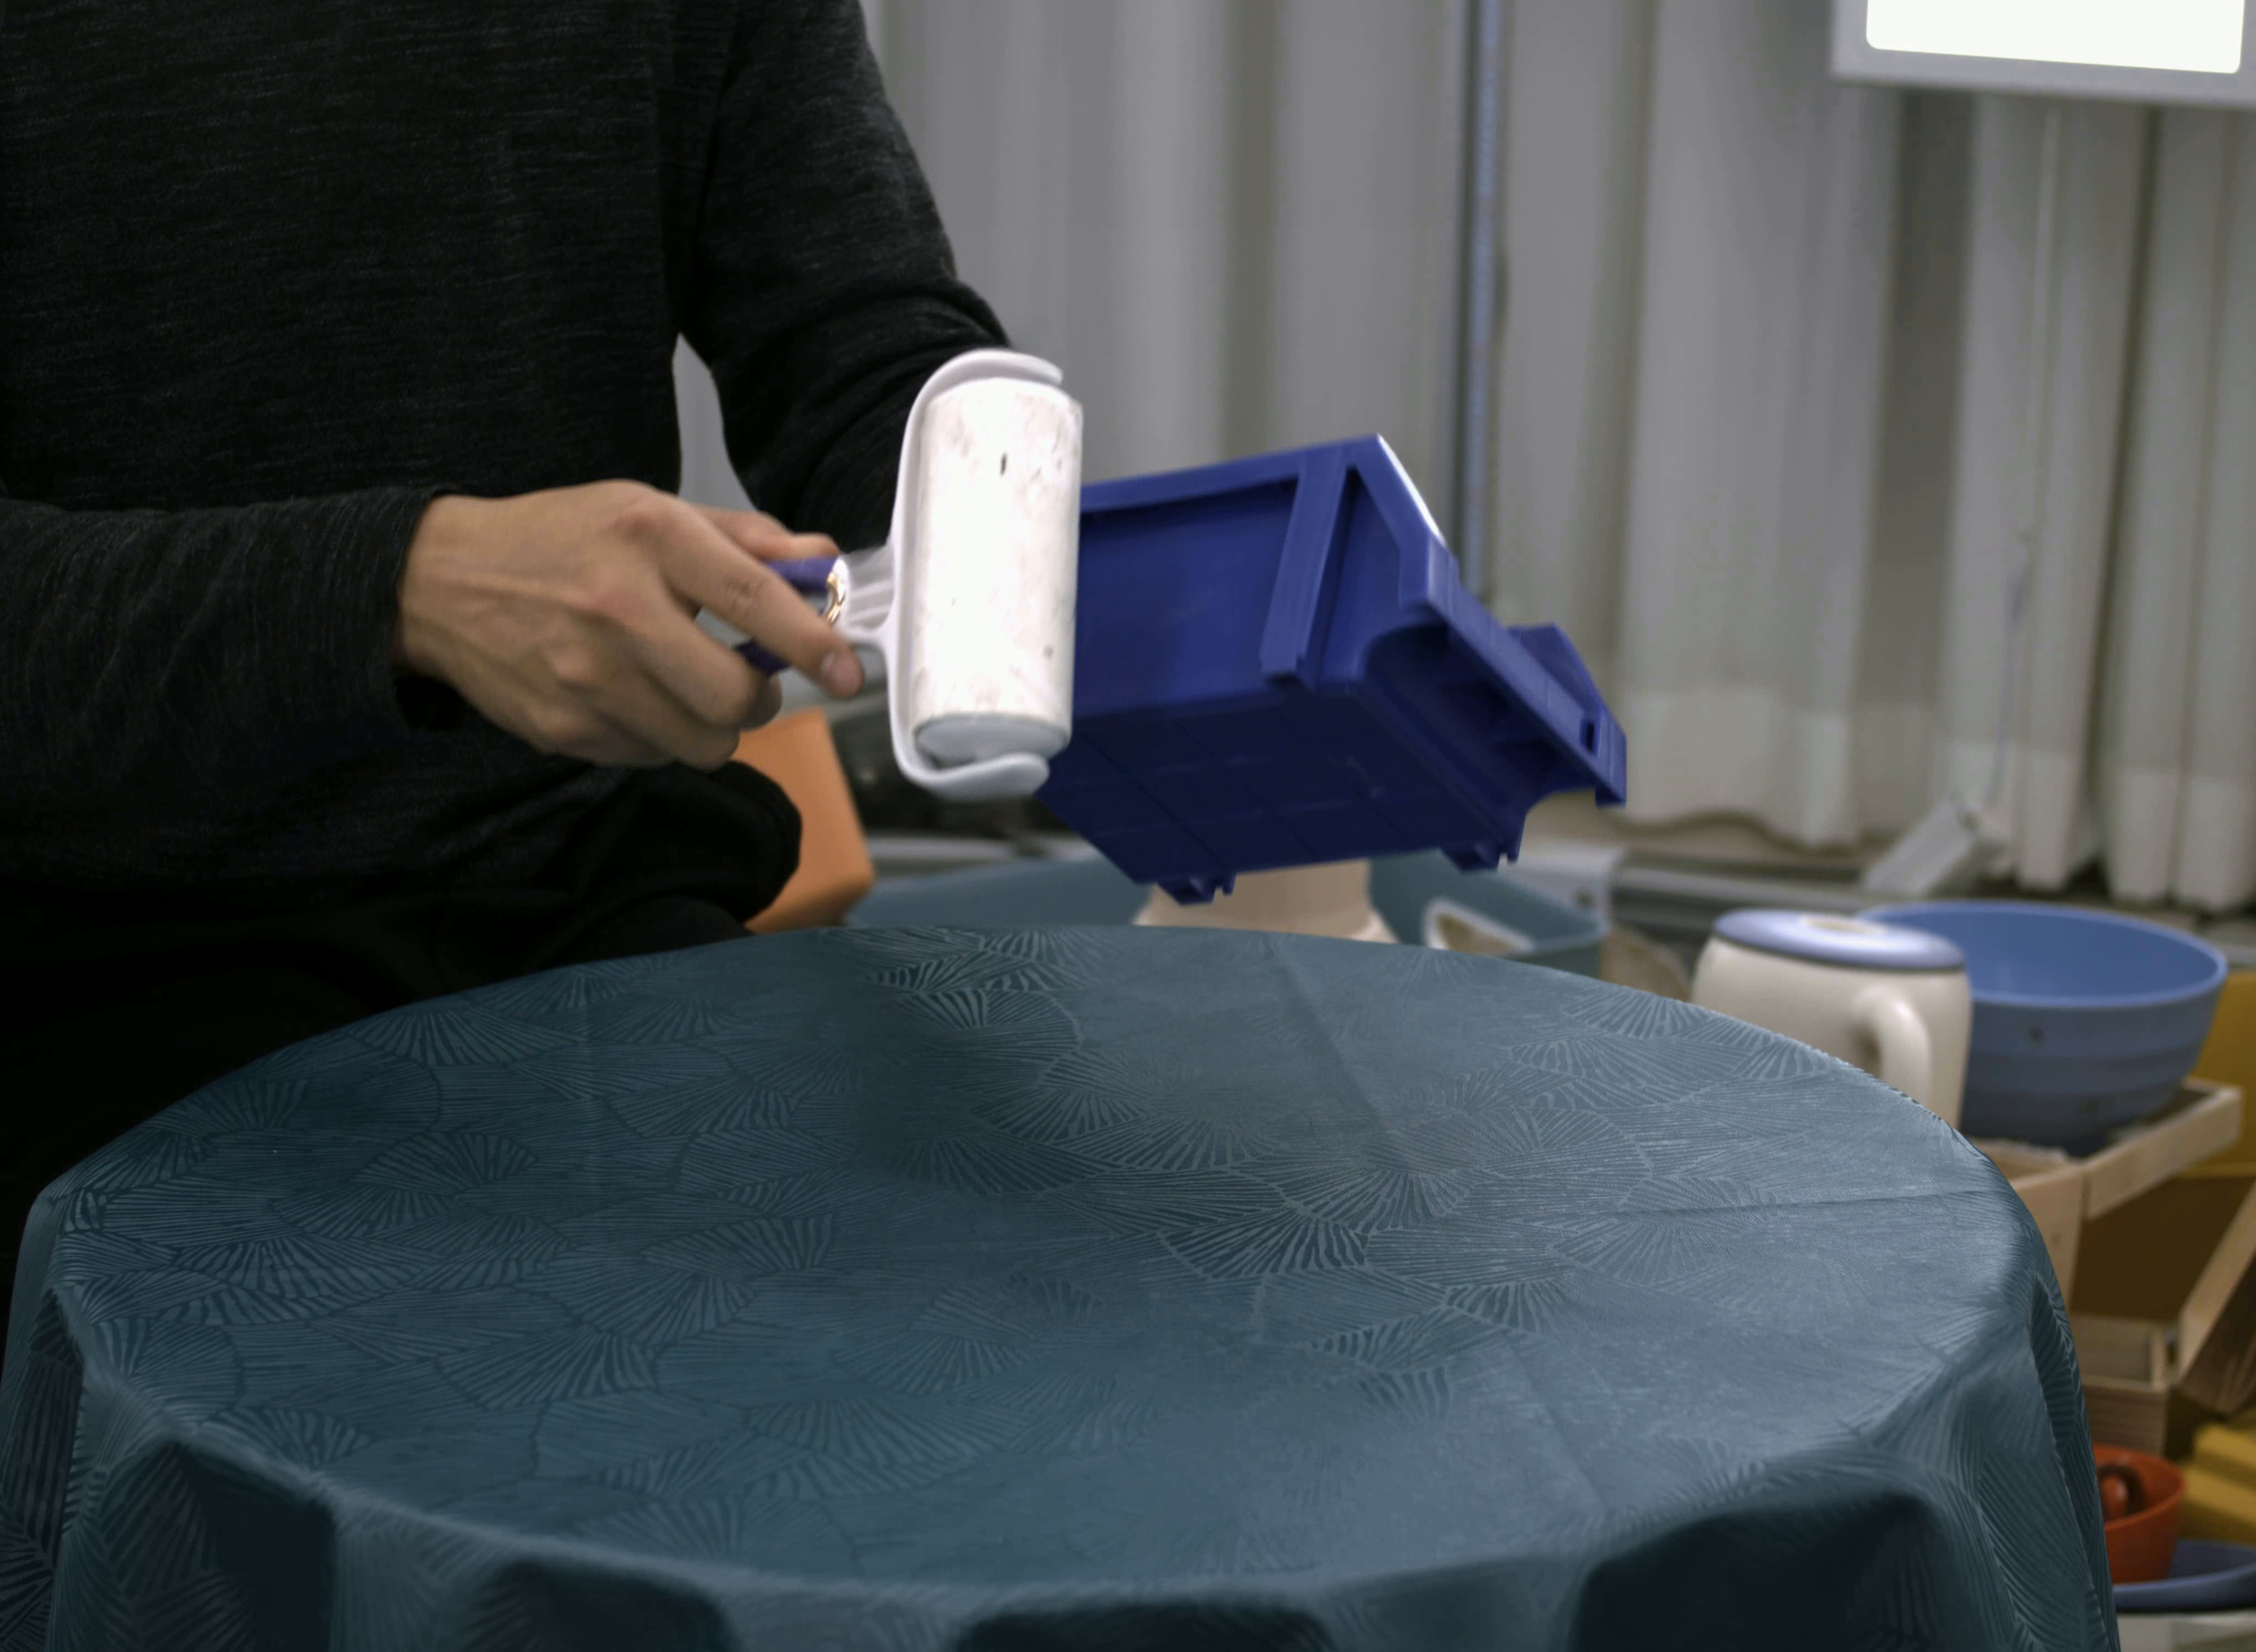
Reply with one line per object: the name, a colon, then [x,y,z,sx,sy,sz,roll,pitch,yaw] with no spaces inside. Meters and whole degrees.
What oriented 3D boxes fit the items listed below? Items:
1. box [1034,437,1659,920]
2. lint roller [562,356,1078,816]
box: [0.058,-0.042,1.586,0.178,0.081,0.126,-10,-35,33]
lint roller: [-0.097,-0.065,1.532,0.179,0.133,0.051,-4,-15,25]
